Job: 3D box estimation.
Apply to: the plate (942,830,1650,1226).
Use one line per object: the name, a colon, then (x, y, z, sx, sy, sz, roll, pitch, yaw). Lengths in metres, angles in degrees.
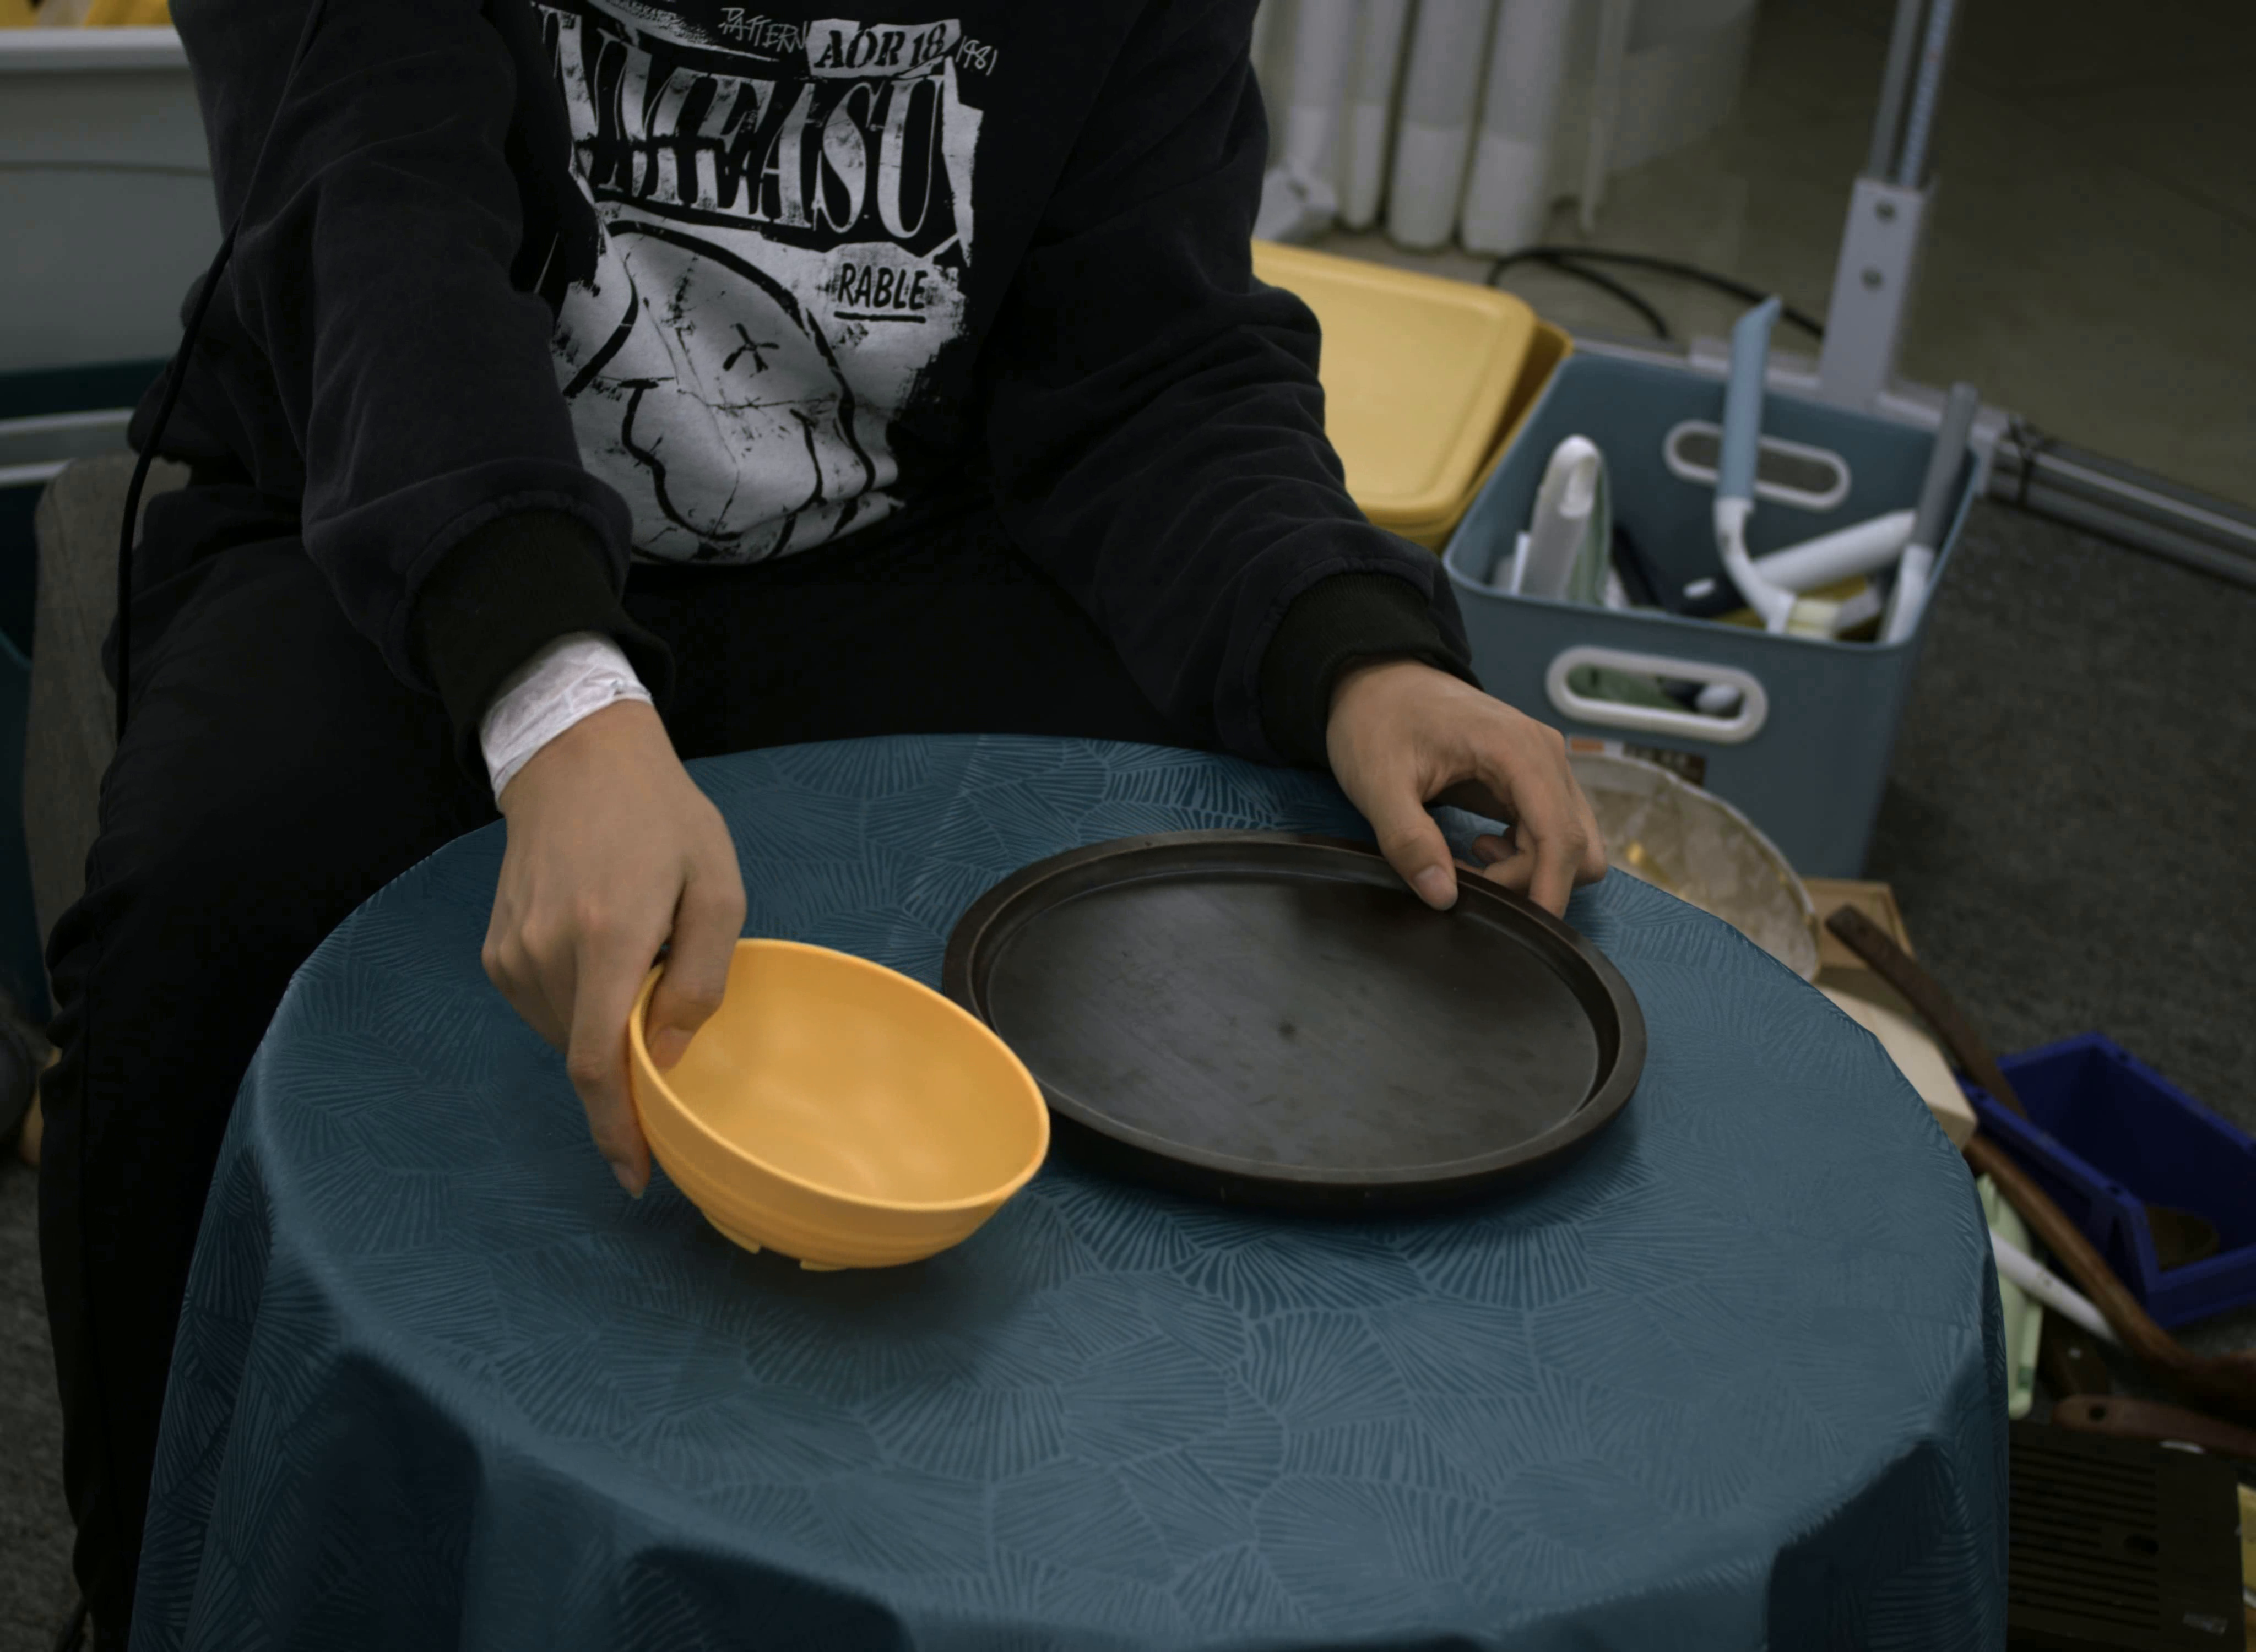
plate: (0.059, 0.070, 1.893, 0.254, 0.029, 0.256, 3, 27, -2)

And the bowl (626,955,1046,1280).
bowl: (-0.103, 0.106, 1.738, 0.144, 0.060, 0.146, 16, 26, -8)
